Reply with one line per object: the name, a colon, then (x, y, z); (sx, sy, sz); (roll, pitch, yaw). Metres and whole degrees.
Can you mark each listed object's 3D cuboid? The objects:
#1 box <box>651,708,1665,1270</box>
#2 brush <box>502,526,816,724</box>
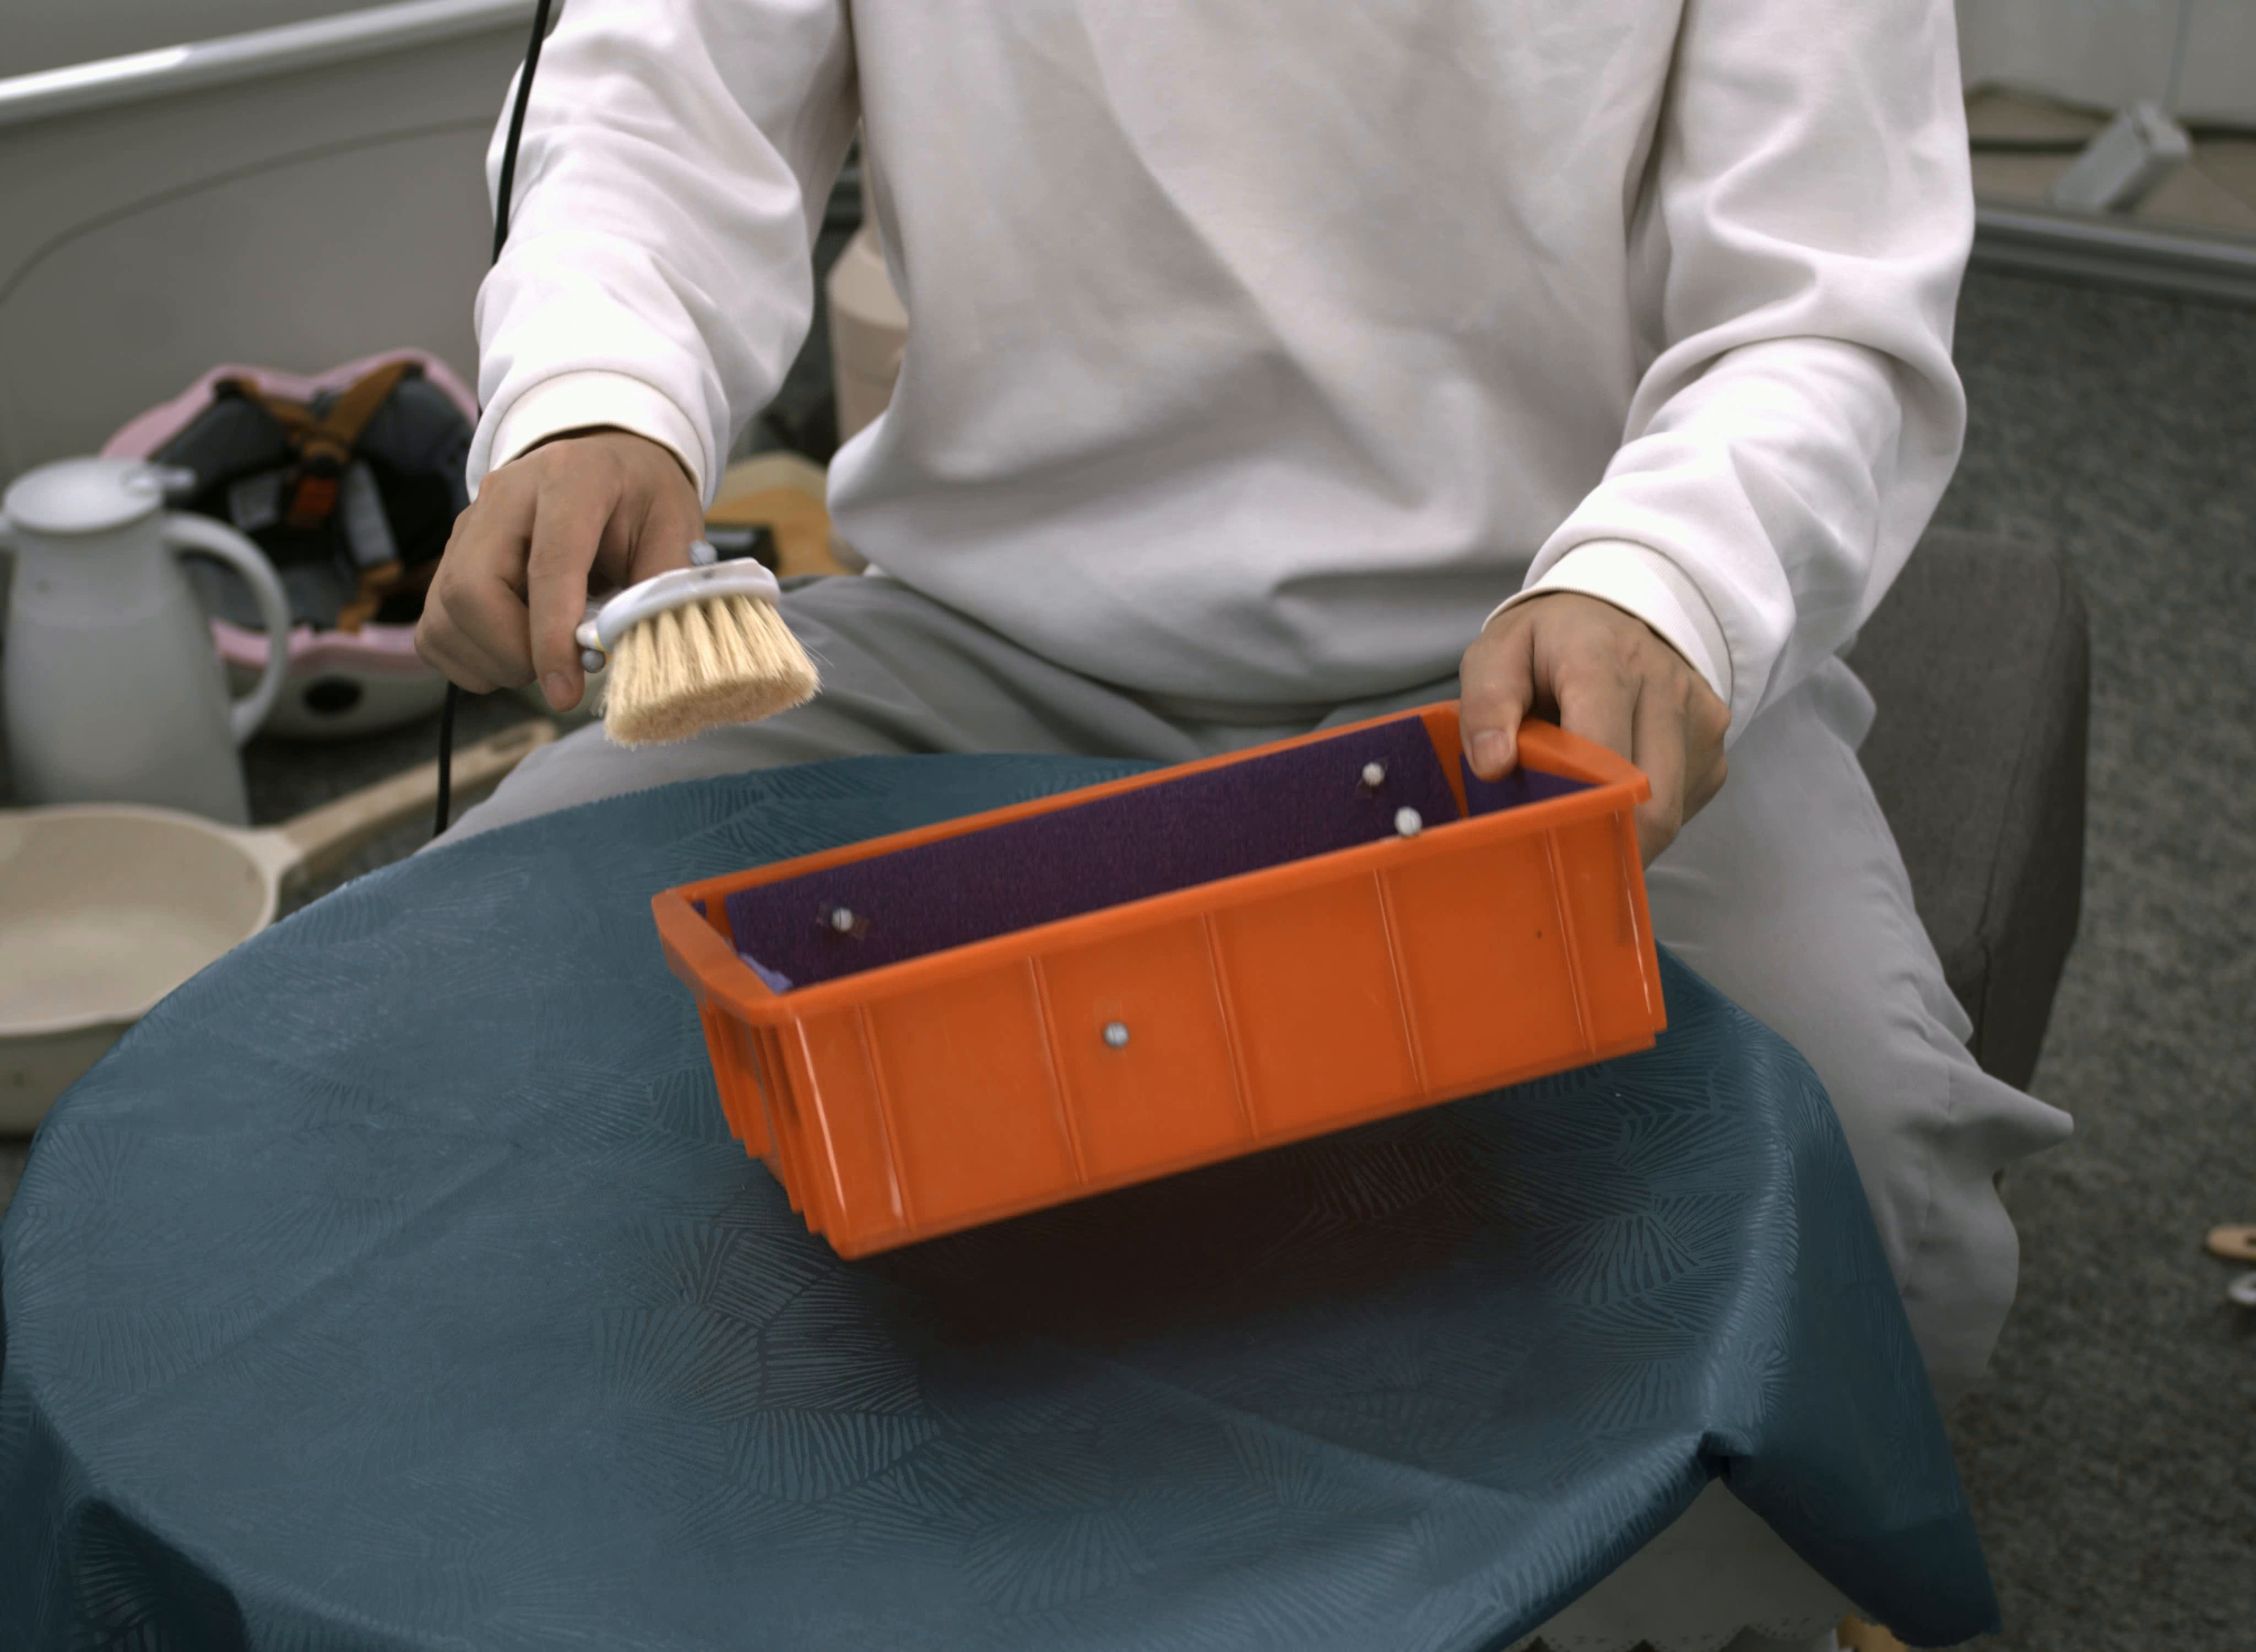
box: (0.009, 0.050, 1.821); (0.304, 0.096, 0.206); (-12, 11, -13)
brush: (-0.166, -0.053, 1.879); (0.068, 0.056, 0.264); (2, -7, -20)
